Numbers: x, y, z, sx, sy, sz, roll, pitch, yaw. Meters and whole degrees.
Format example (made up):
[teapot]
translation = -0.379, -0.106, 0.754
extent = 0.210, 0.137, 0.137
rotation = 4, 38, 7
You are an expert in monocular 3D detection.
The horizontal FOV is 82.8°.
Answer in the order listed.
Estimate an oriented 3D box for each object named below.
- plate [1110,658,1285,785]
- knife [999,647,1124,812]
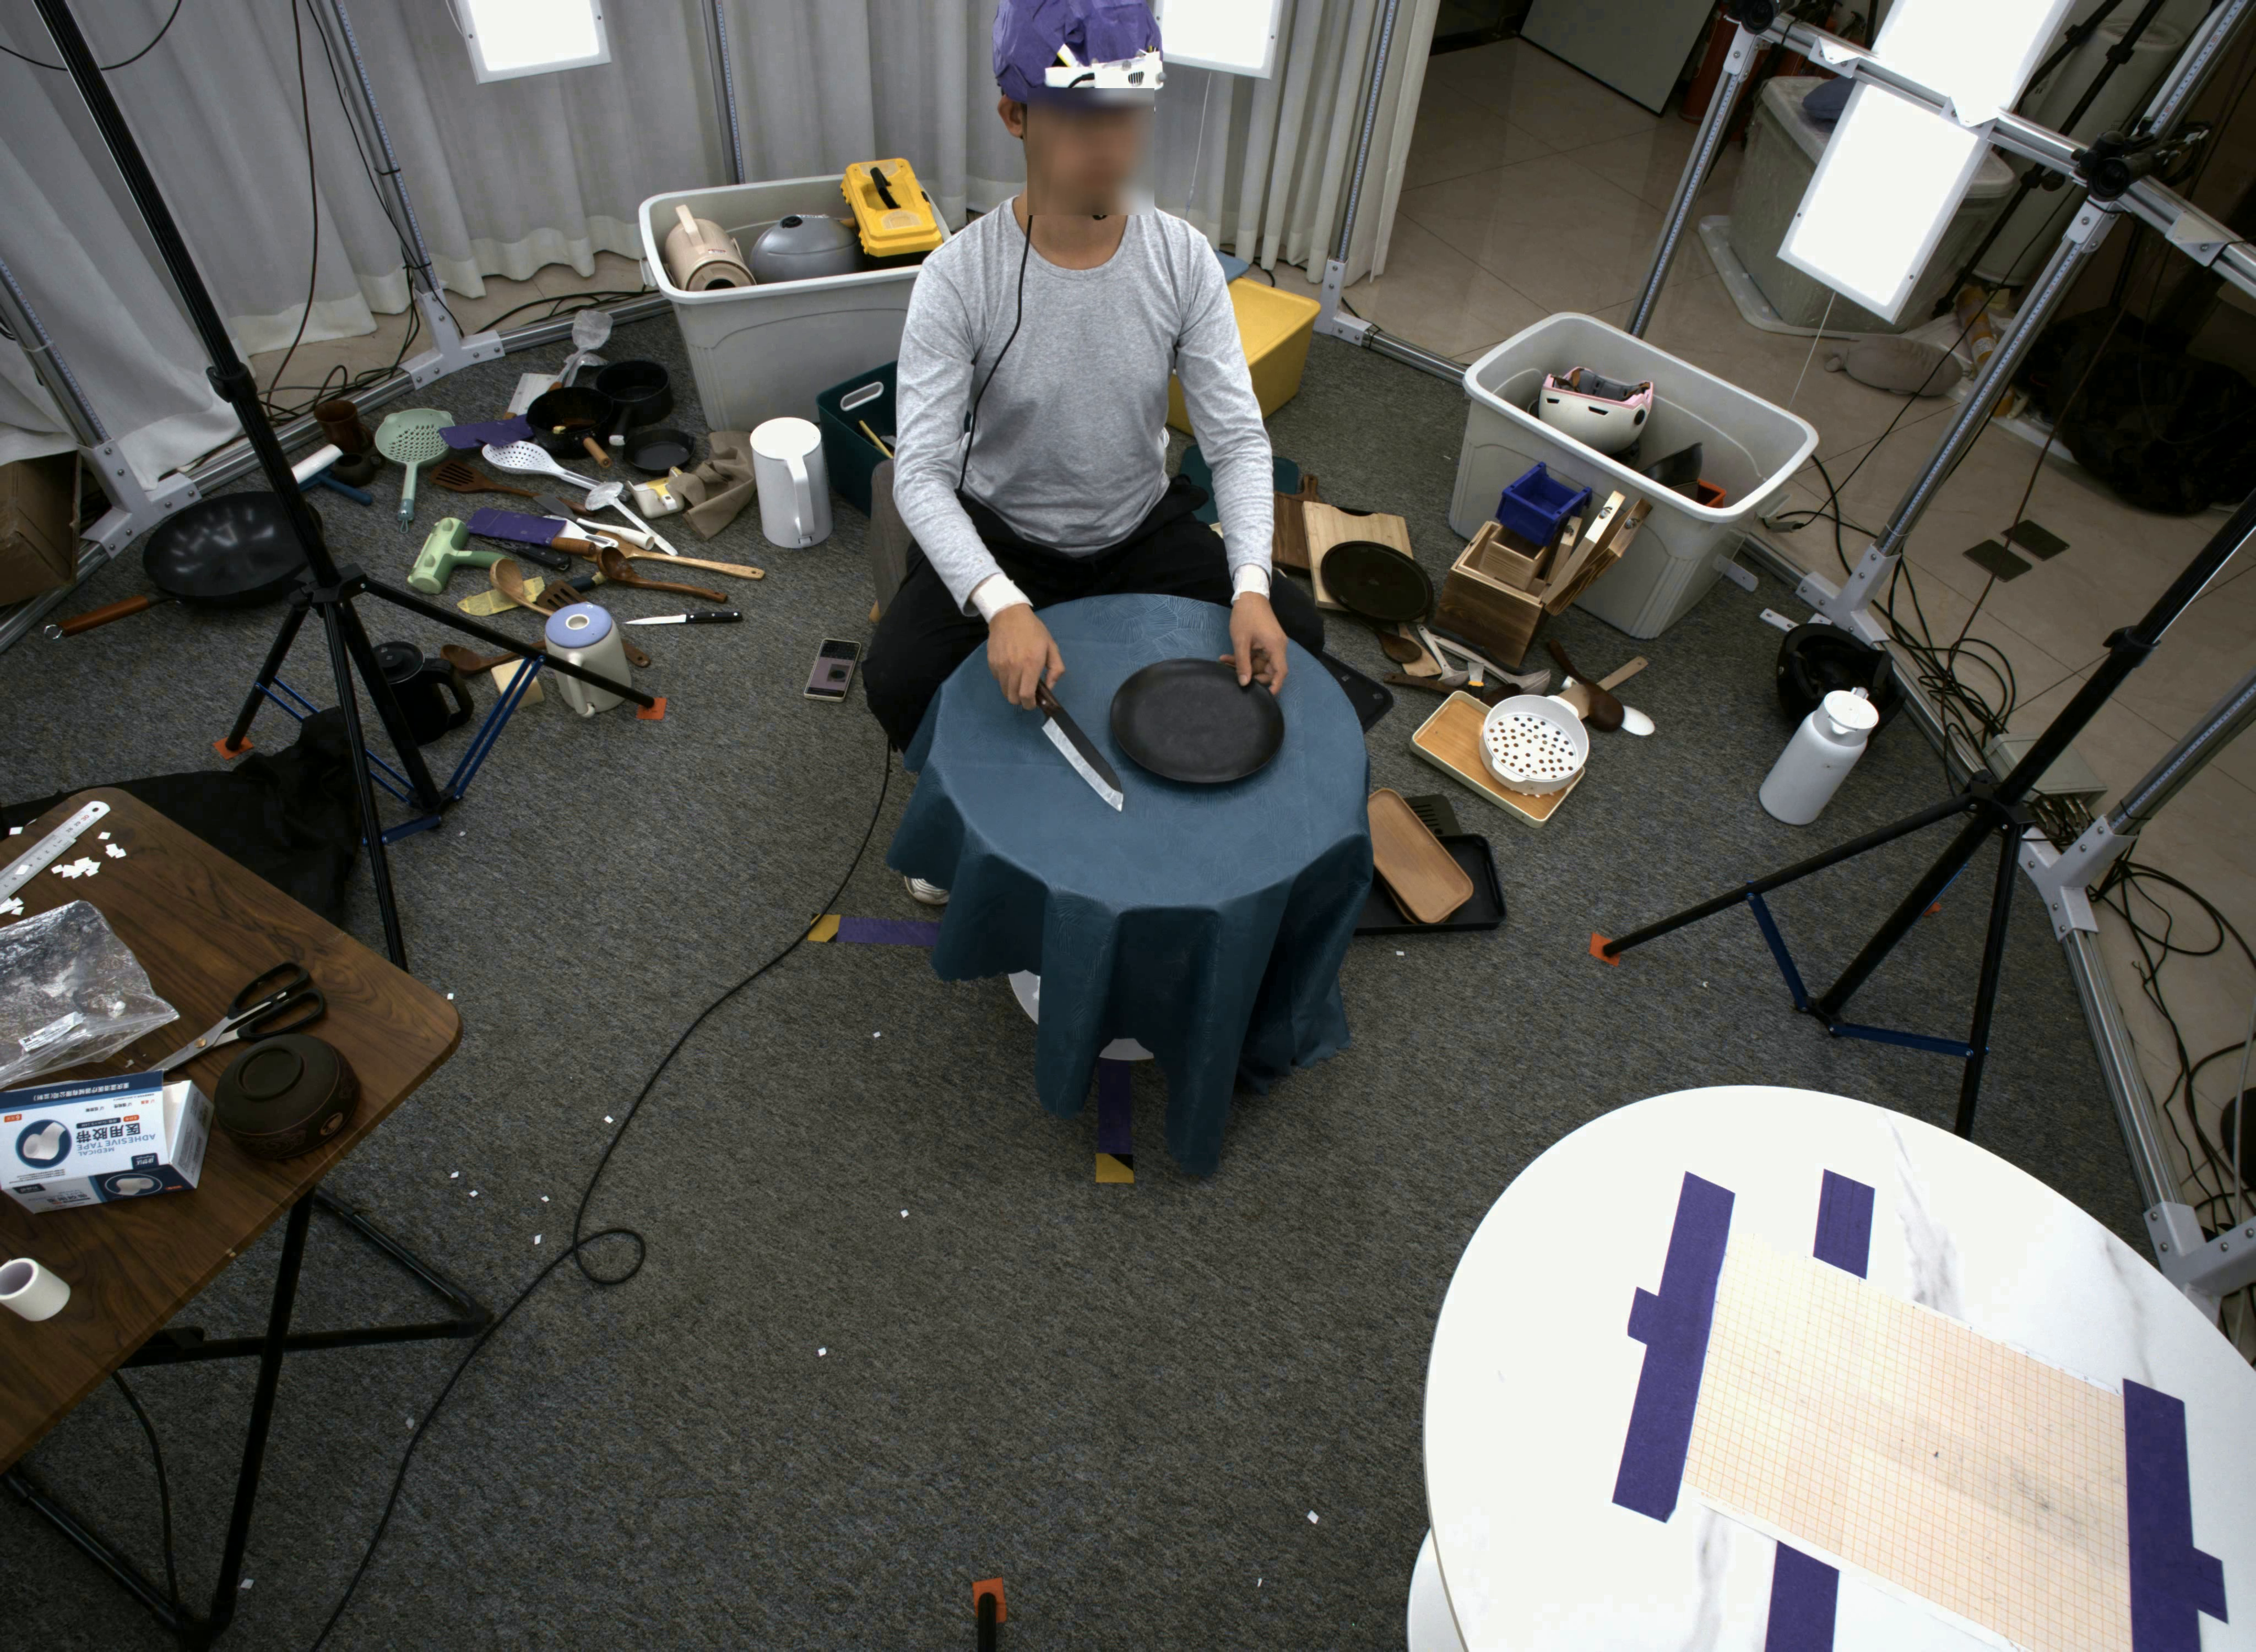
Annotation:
[plate]
translation = 0.096, -0.144, 1.784
extent = 0.244, 0.023, 0.250
rotation = 2, 49, -2
[knife]
translation = -0.089, -0.131, 1.725
extent = 0.293, 0.049, 0.020
rotation = 53, 28, 19
